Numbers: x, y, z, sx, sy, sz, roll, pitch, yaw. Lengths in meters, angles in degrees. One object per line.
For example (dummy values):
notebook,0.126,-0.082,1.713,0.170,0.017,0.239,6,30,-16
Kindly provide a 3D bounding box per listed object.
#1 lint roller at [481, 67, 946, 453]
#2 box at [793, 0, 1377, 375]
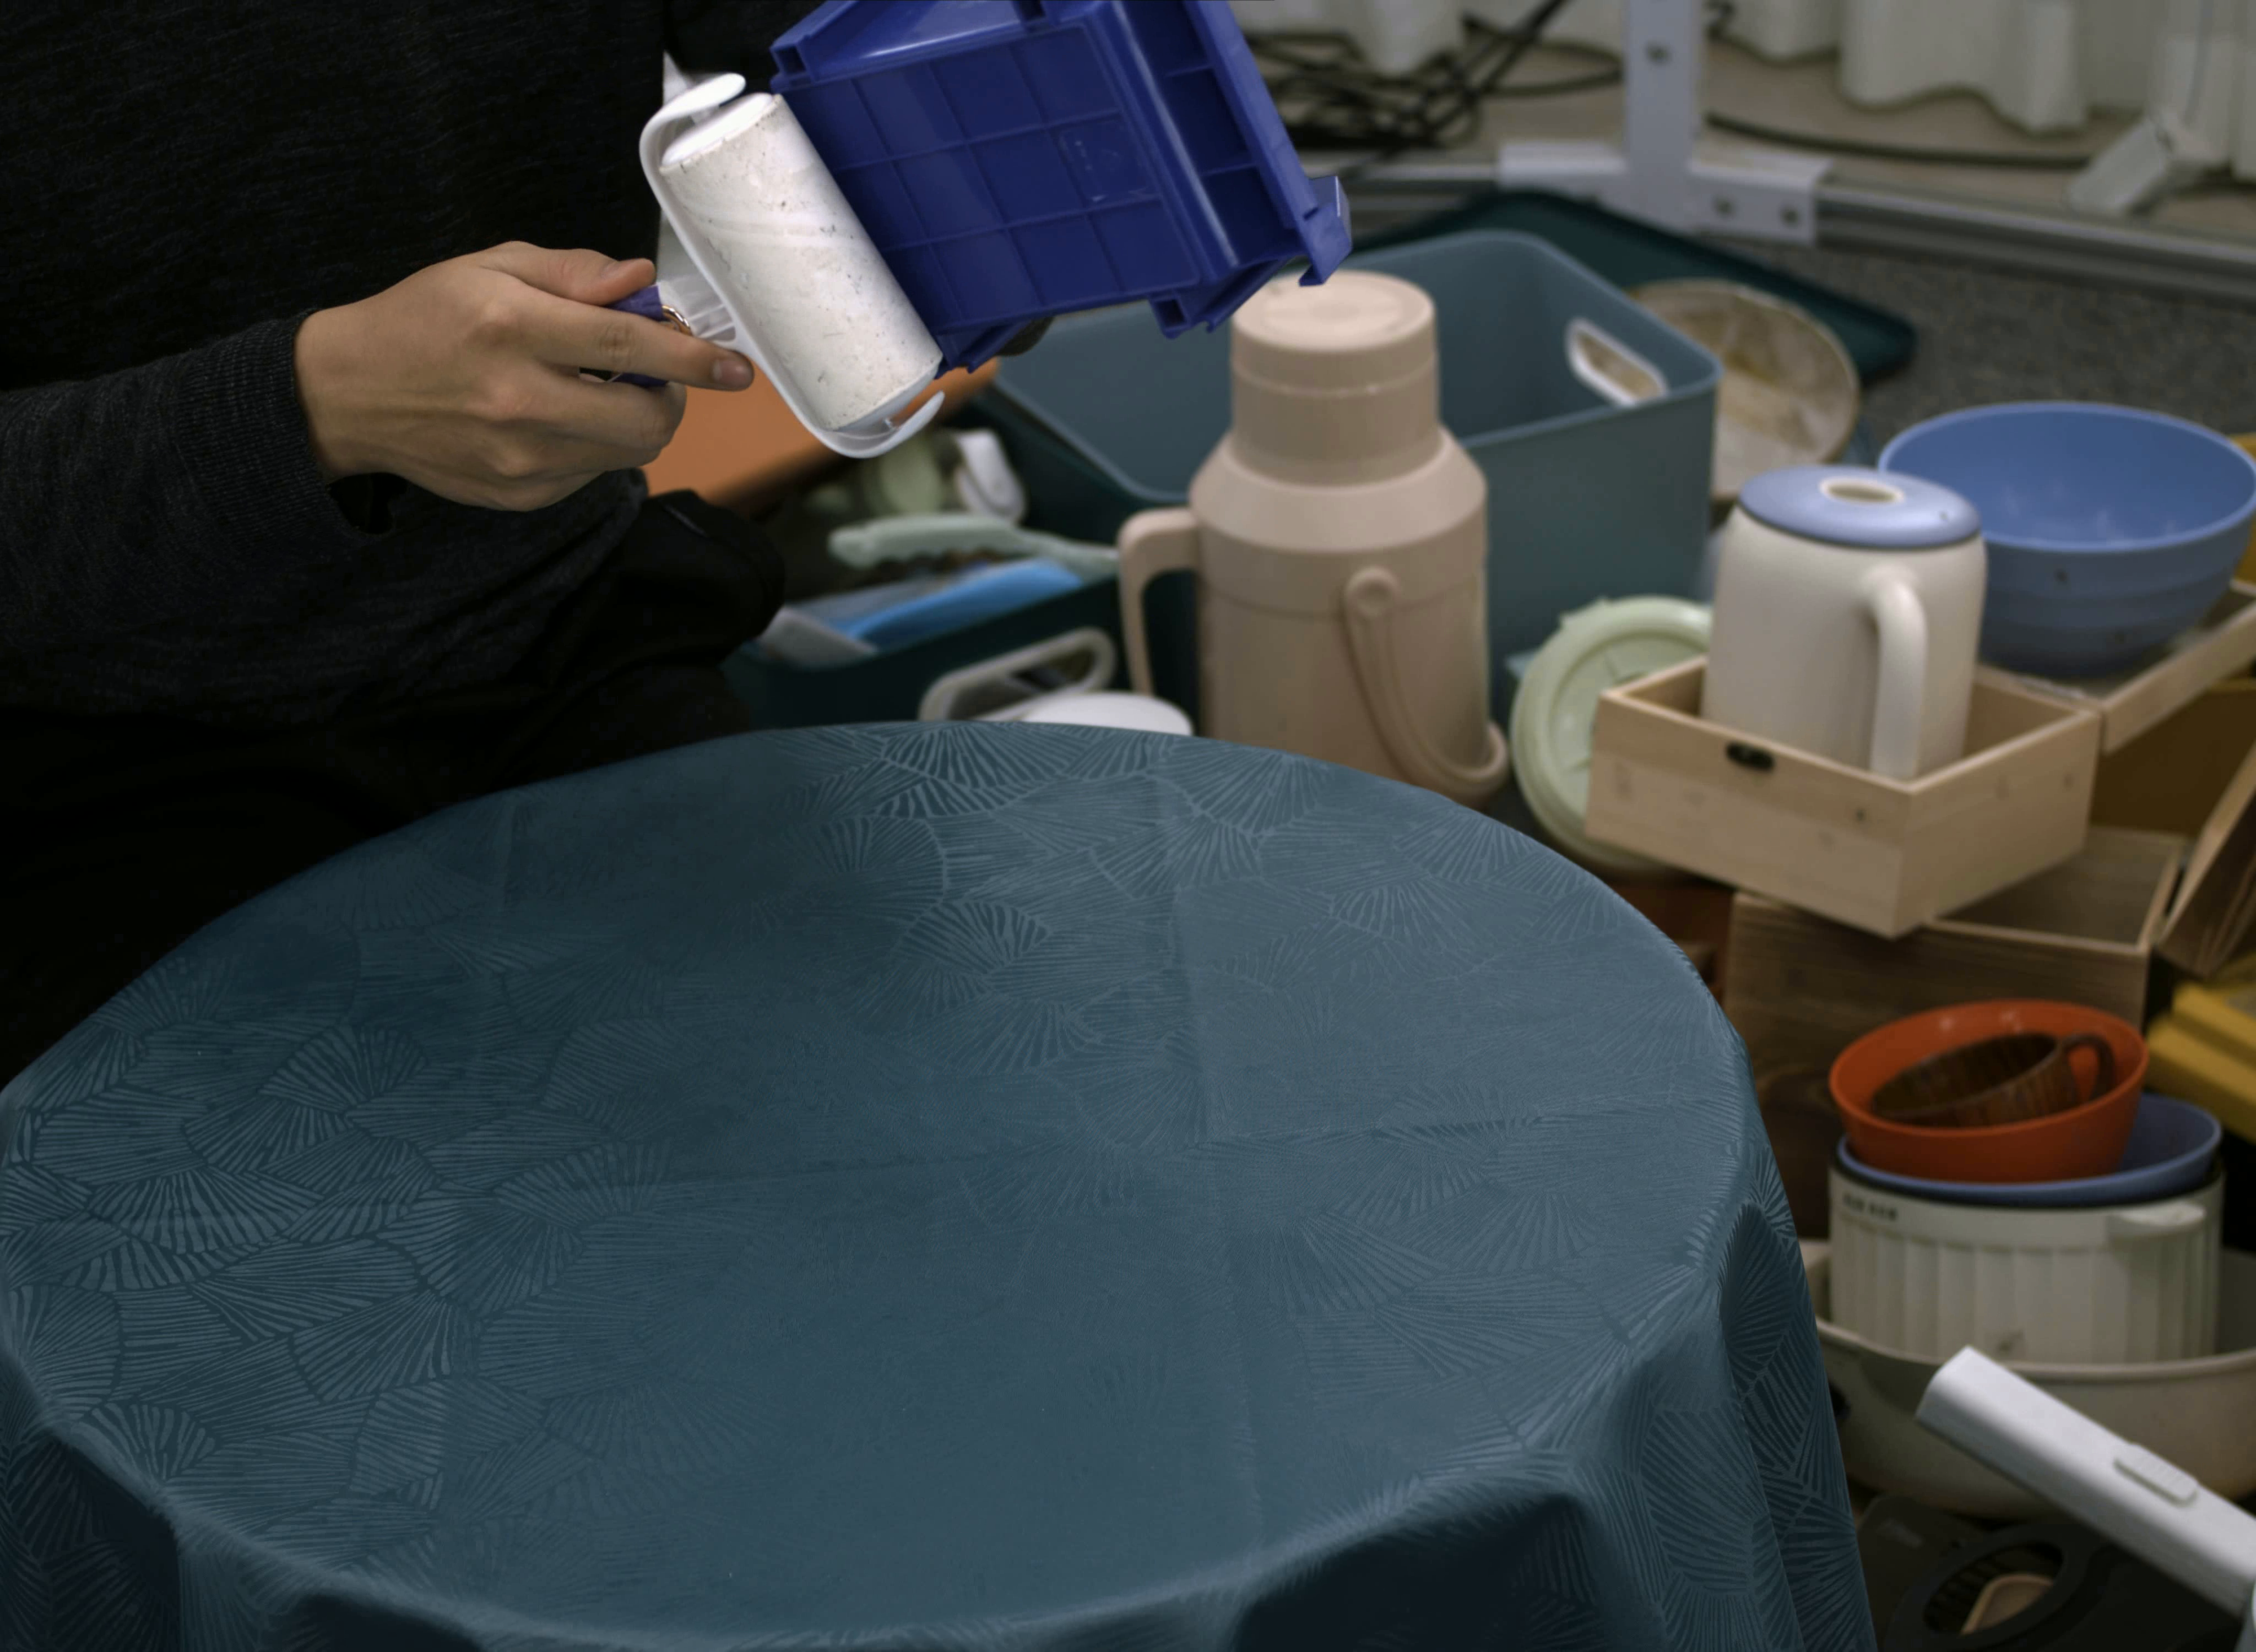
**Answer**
lint roller,-0.155,-0.162,1.842,0.178,0.132,0.051,-22,17,32
box,-0.010,-0.225,1.794,0.177,0.124,0.083,-9,25,40
